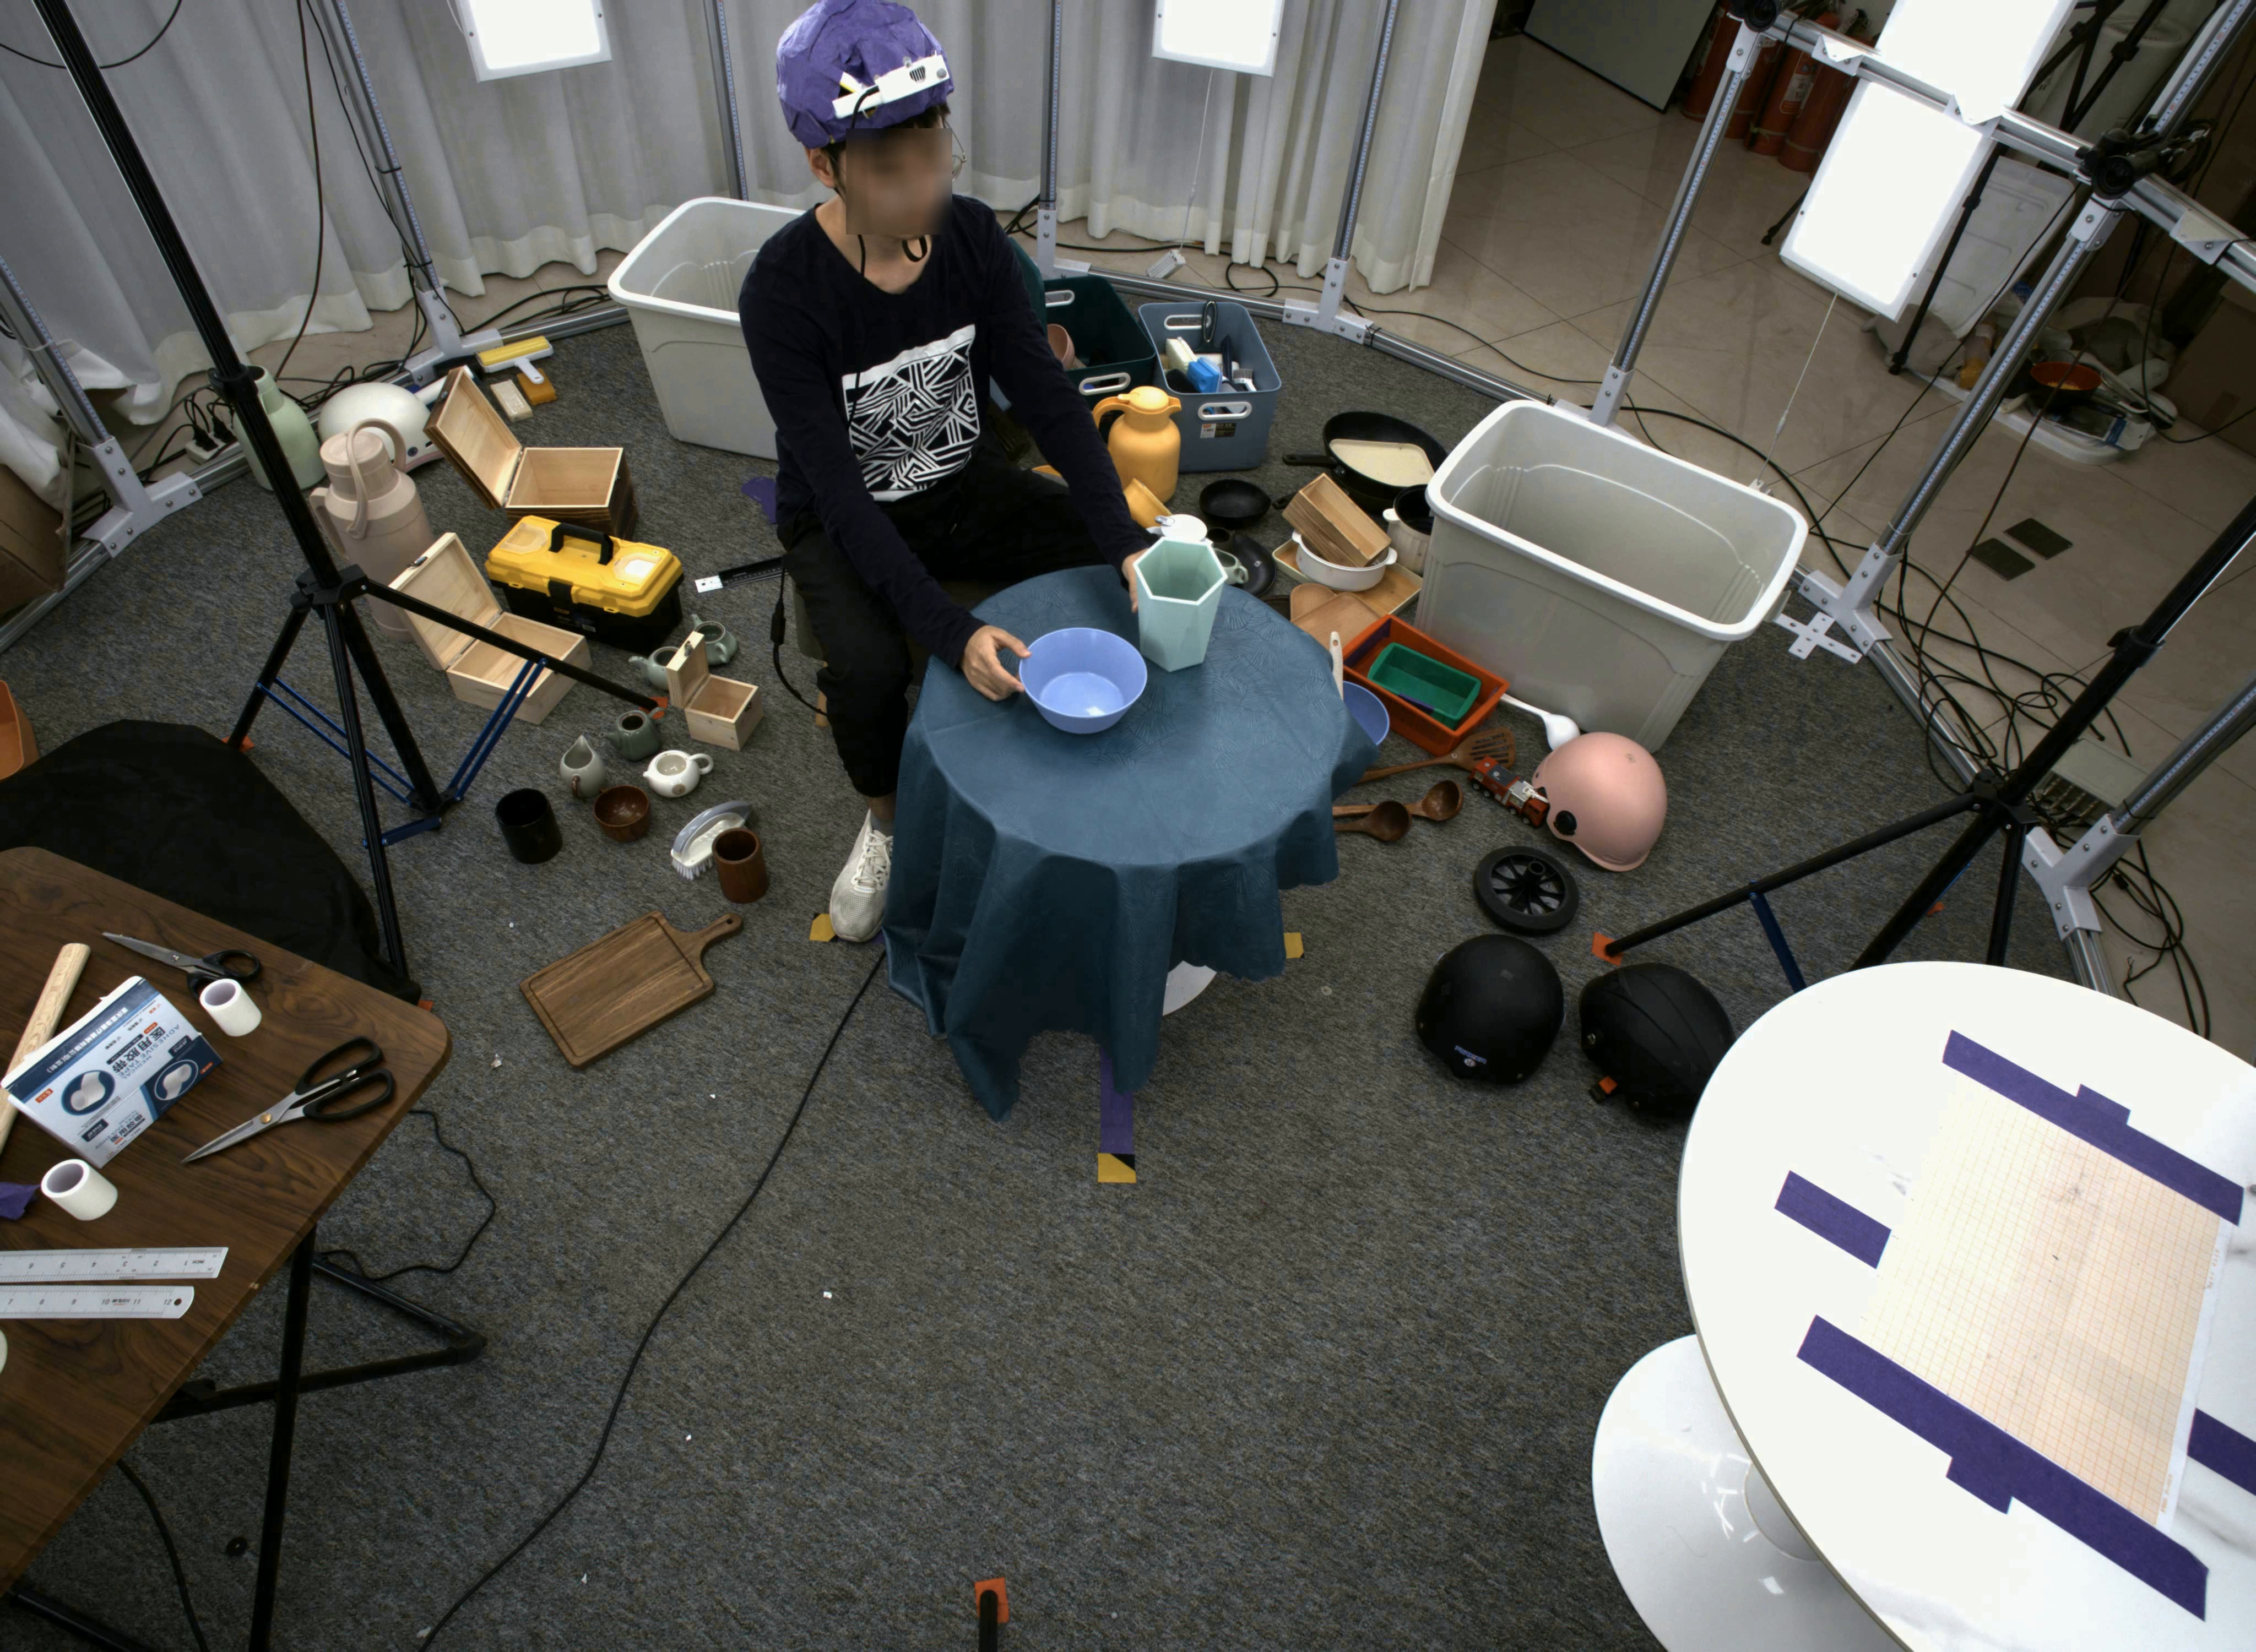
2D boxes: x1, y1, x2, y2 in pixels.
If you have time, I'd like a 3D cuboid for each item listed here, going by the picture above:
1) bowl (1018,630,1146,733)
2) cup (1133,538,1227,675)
[{"bbox_3d":[-0.064,-0.193,1.785,0.176,0.068,0.180,2,48,-2],"label":"bowl"},{"bbox_3d":[0.071,-0.307,1.825,0.116,0.159,0.132,31,60,20],"label":"cup"}]
